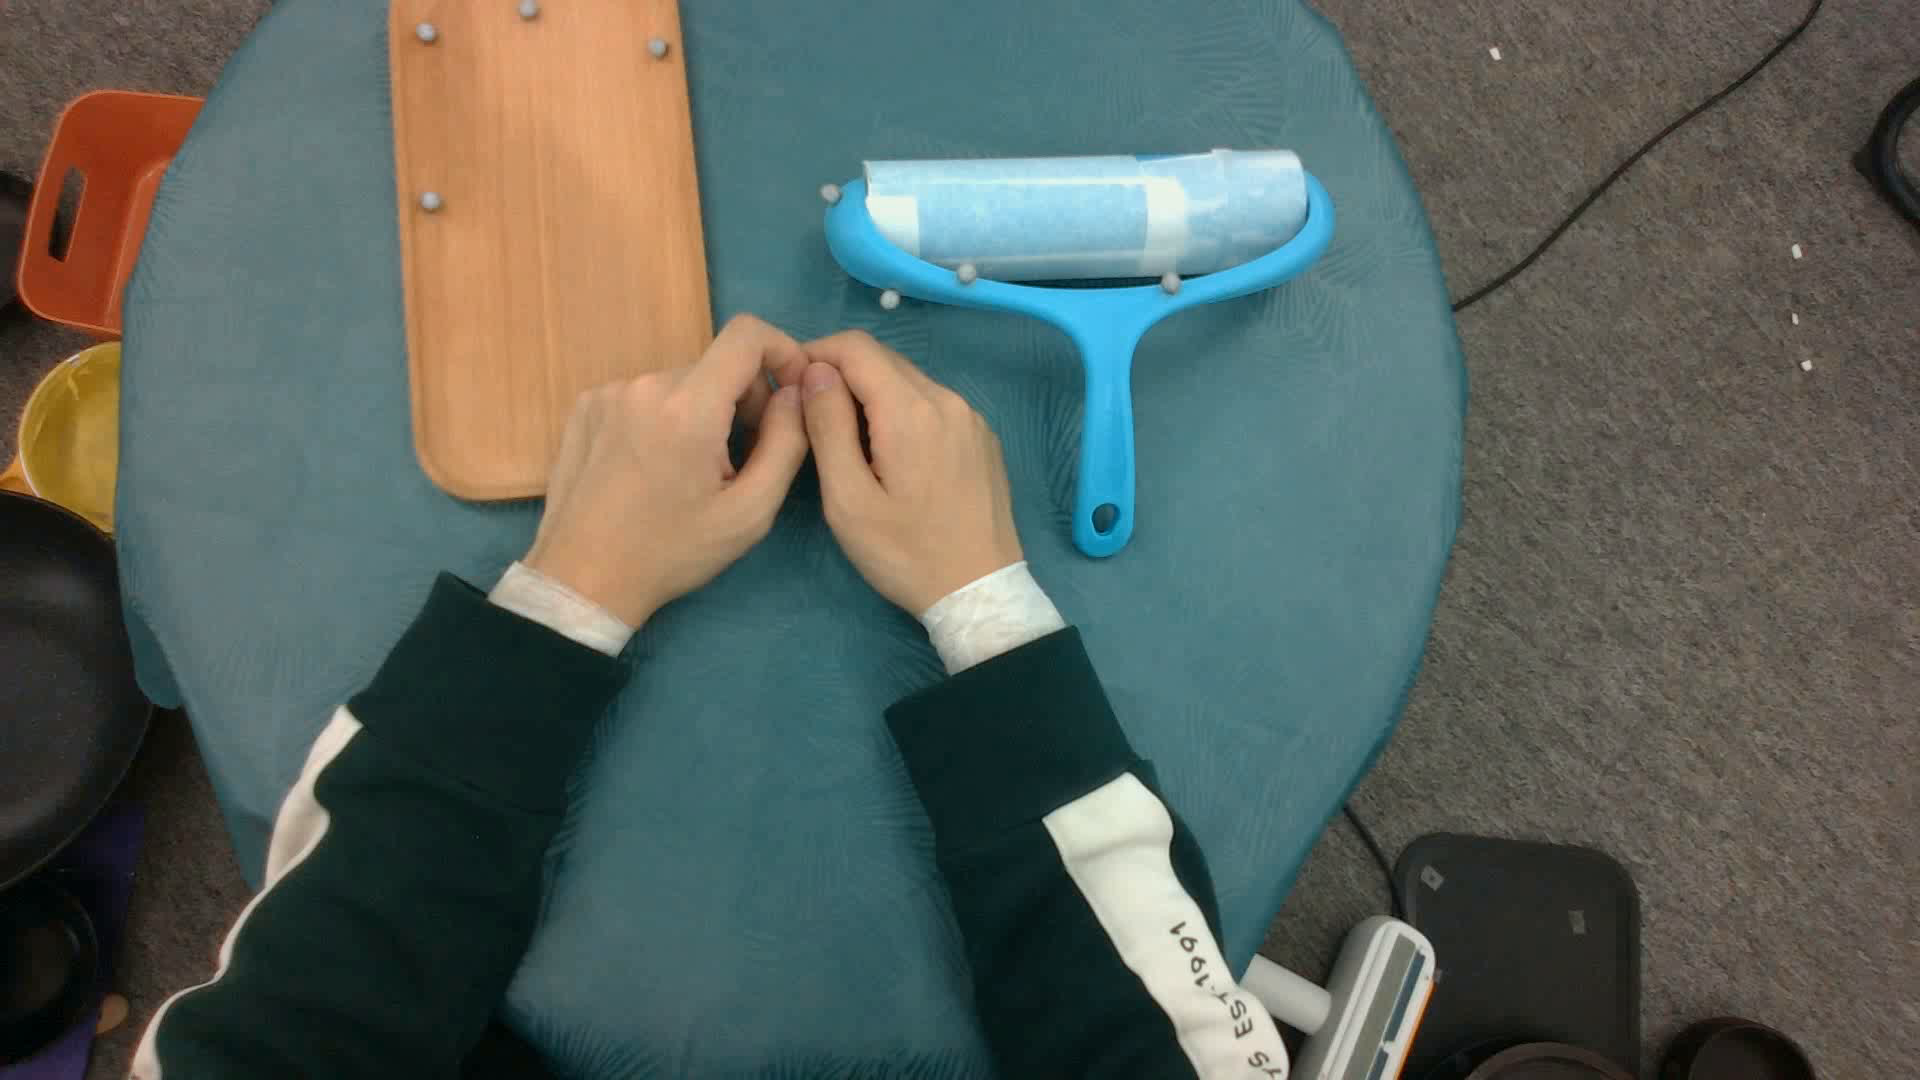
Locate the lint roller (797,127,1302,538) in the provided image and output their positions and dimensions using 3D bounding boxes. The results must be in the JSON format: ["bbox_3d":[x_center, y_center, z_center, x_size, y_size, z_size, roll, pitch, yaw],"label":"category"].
[{"bbox_3d":[0.051,-0.095,0.609,0.229,0.068,0.180,-7,79,-10],"label":"lint roller"}]

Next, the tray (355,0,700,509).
[{"bbox_3d":[-0.191,-0.139,0.608,0.130,0.023,0.251,-7,81,-6],"label":"tray"}]
